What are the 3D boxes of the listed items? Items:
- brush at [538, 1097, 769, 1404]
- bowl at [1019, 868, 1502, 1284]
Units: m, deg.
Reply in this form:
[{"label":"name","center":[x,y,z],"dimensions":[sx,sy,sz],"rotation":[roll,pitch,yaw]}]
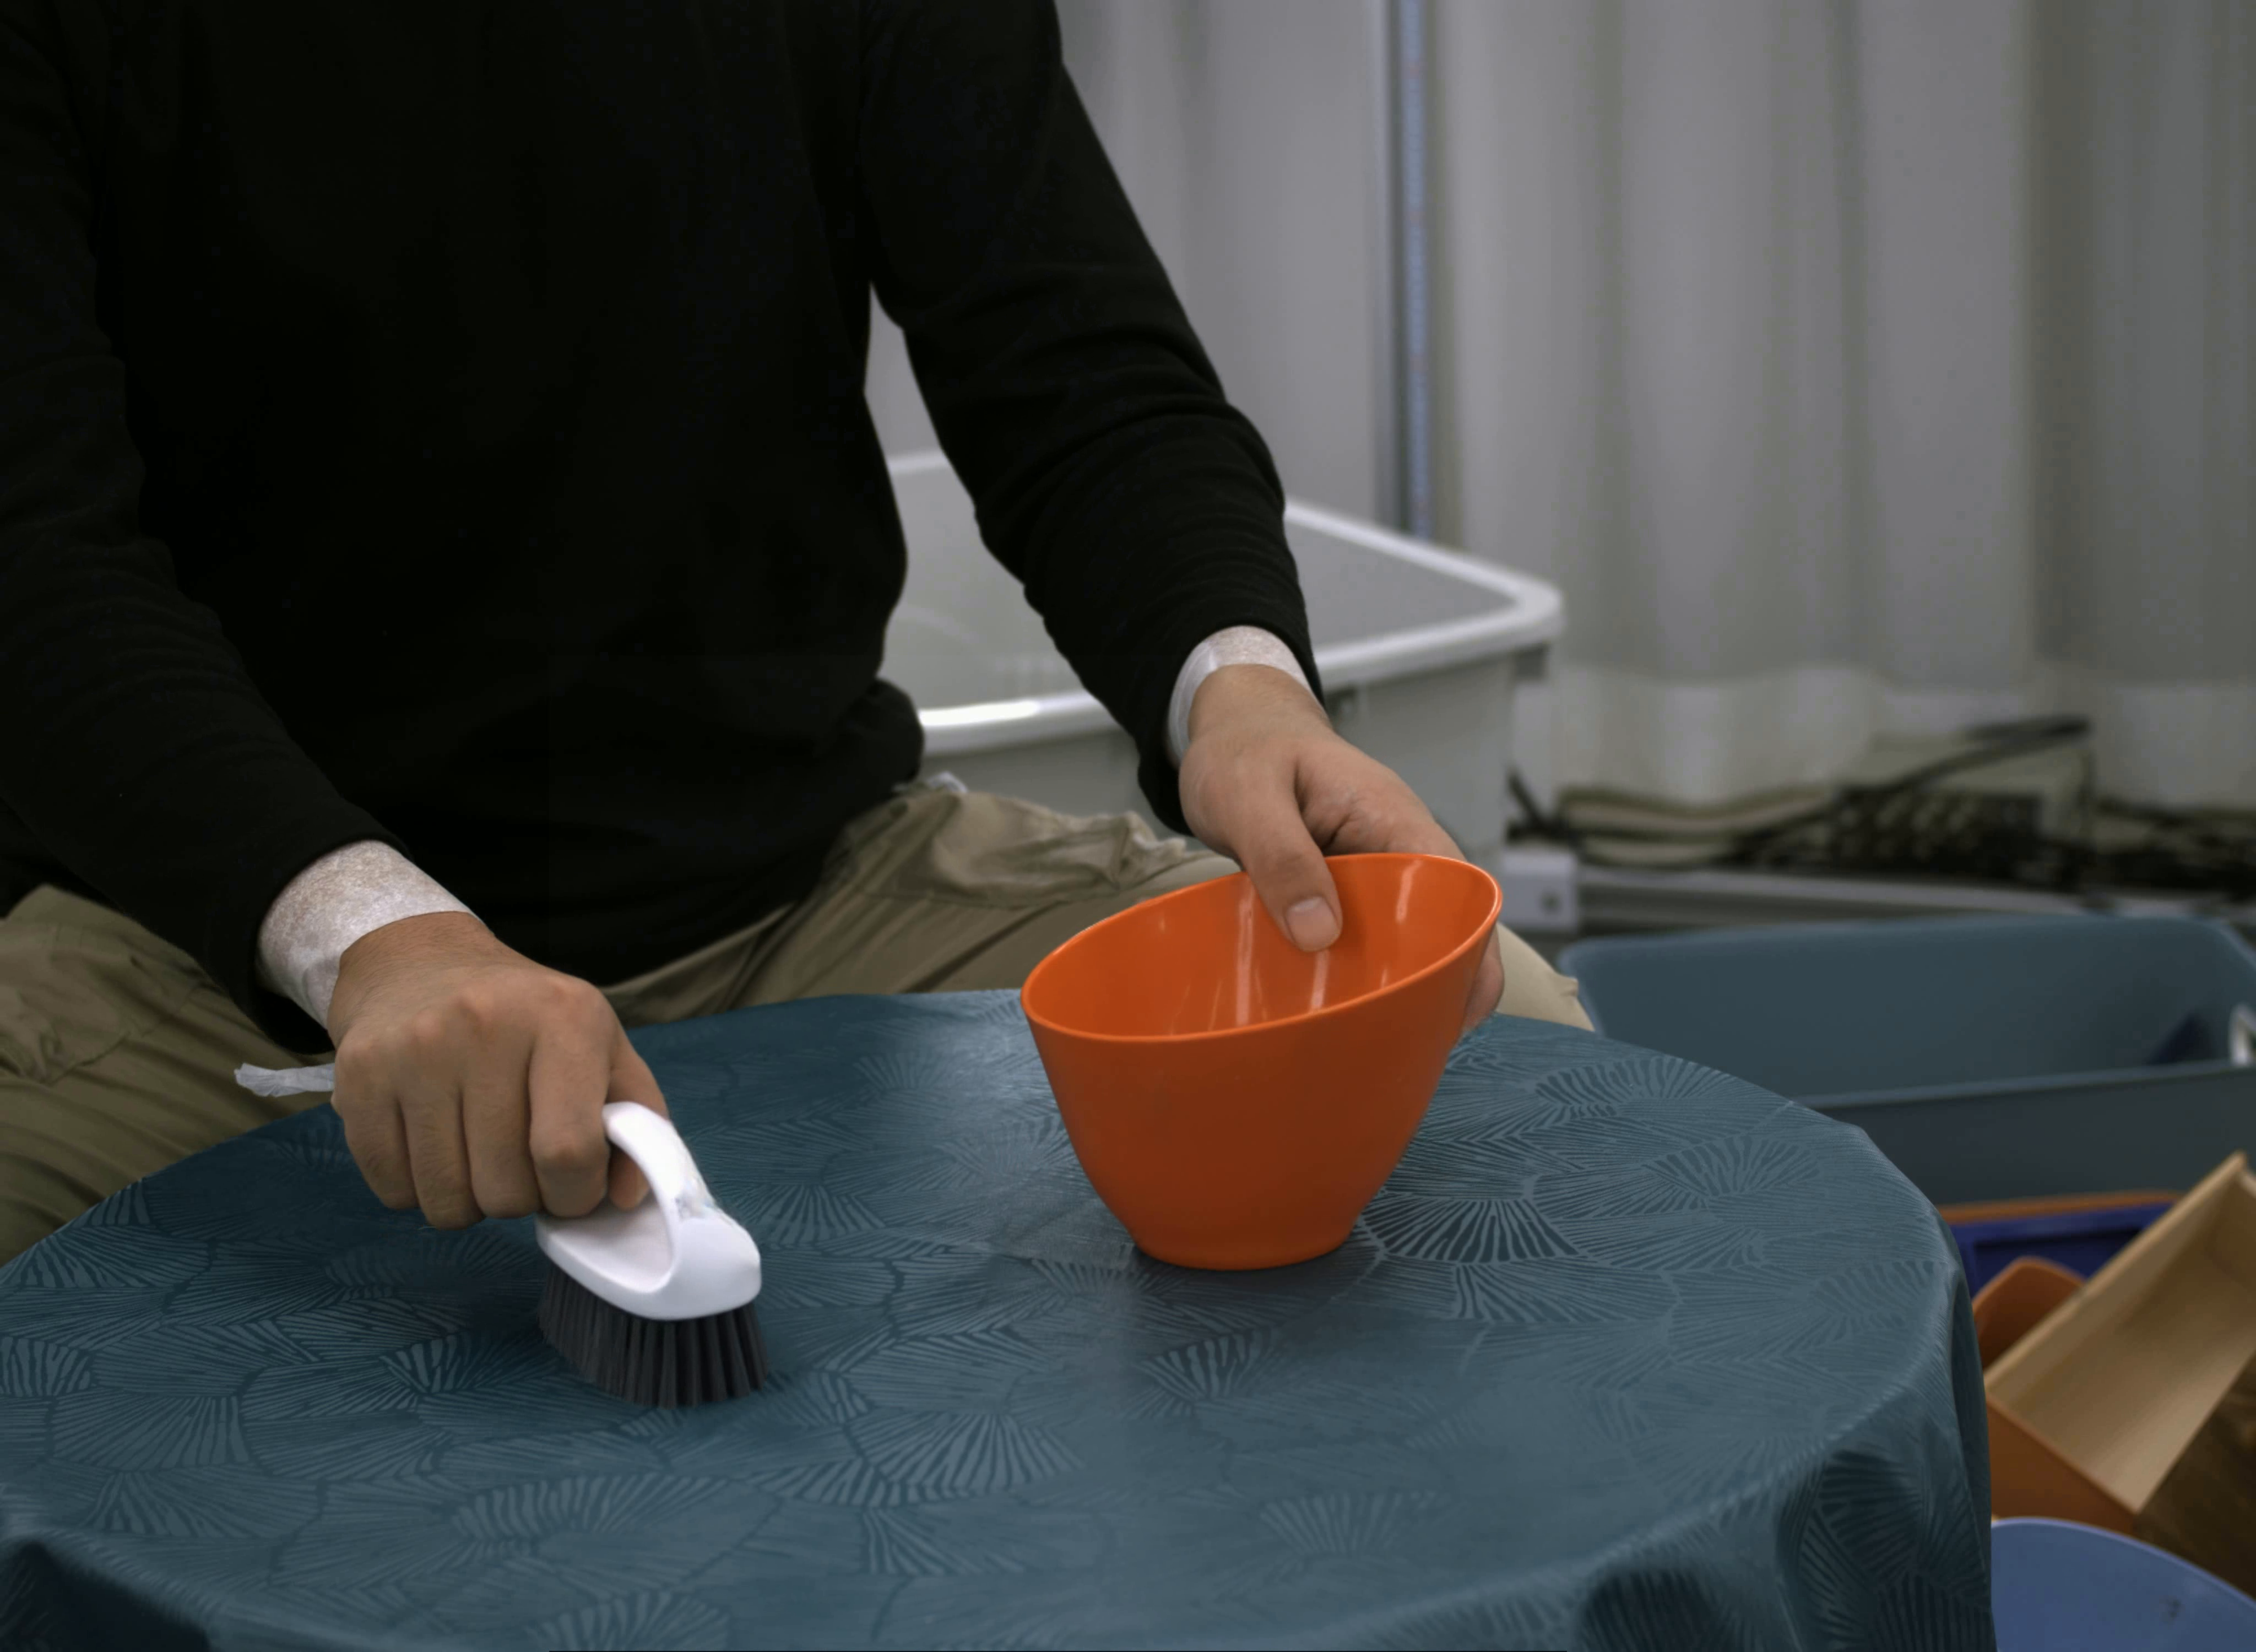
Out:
[{"label":"brush","center":[-0.140,0.117,1.584],"dimensions":[0.050,0.072,0.100],"rotation":[-11,18,-23]},{"label":"bowl","center":[0.043,0.078,1.657],"dimensions":[0.147,0.104,0.149],"rotation":[-4,13,1]}]
